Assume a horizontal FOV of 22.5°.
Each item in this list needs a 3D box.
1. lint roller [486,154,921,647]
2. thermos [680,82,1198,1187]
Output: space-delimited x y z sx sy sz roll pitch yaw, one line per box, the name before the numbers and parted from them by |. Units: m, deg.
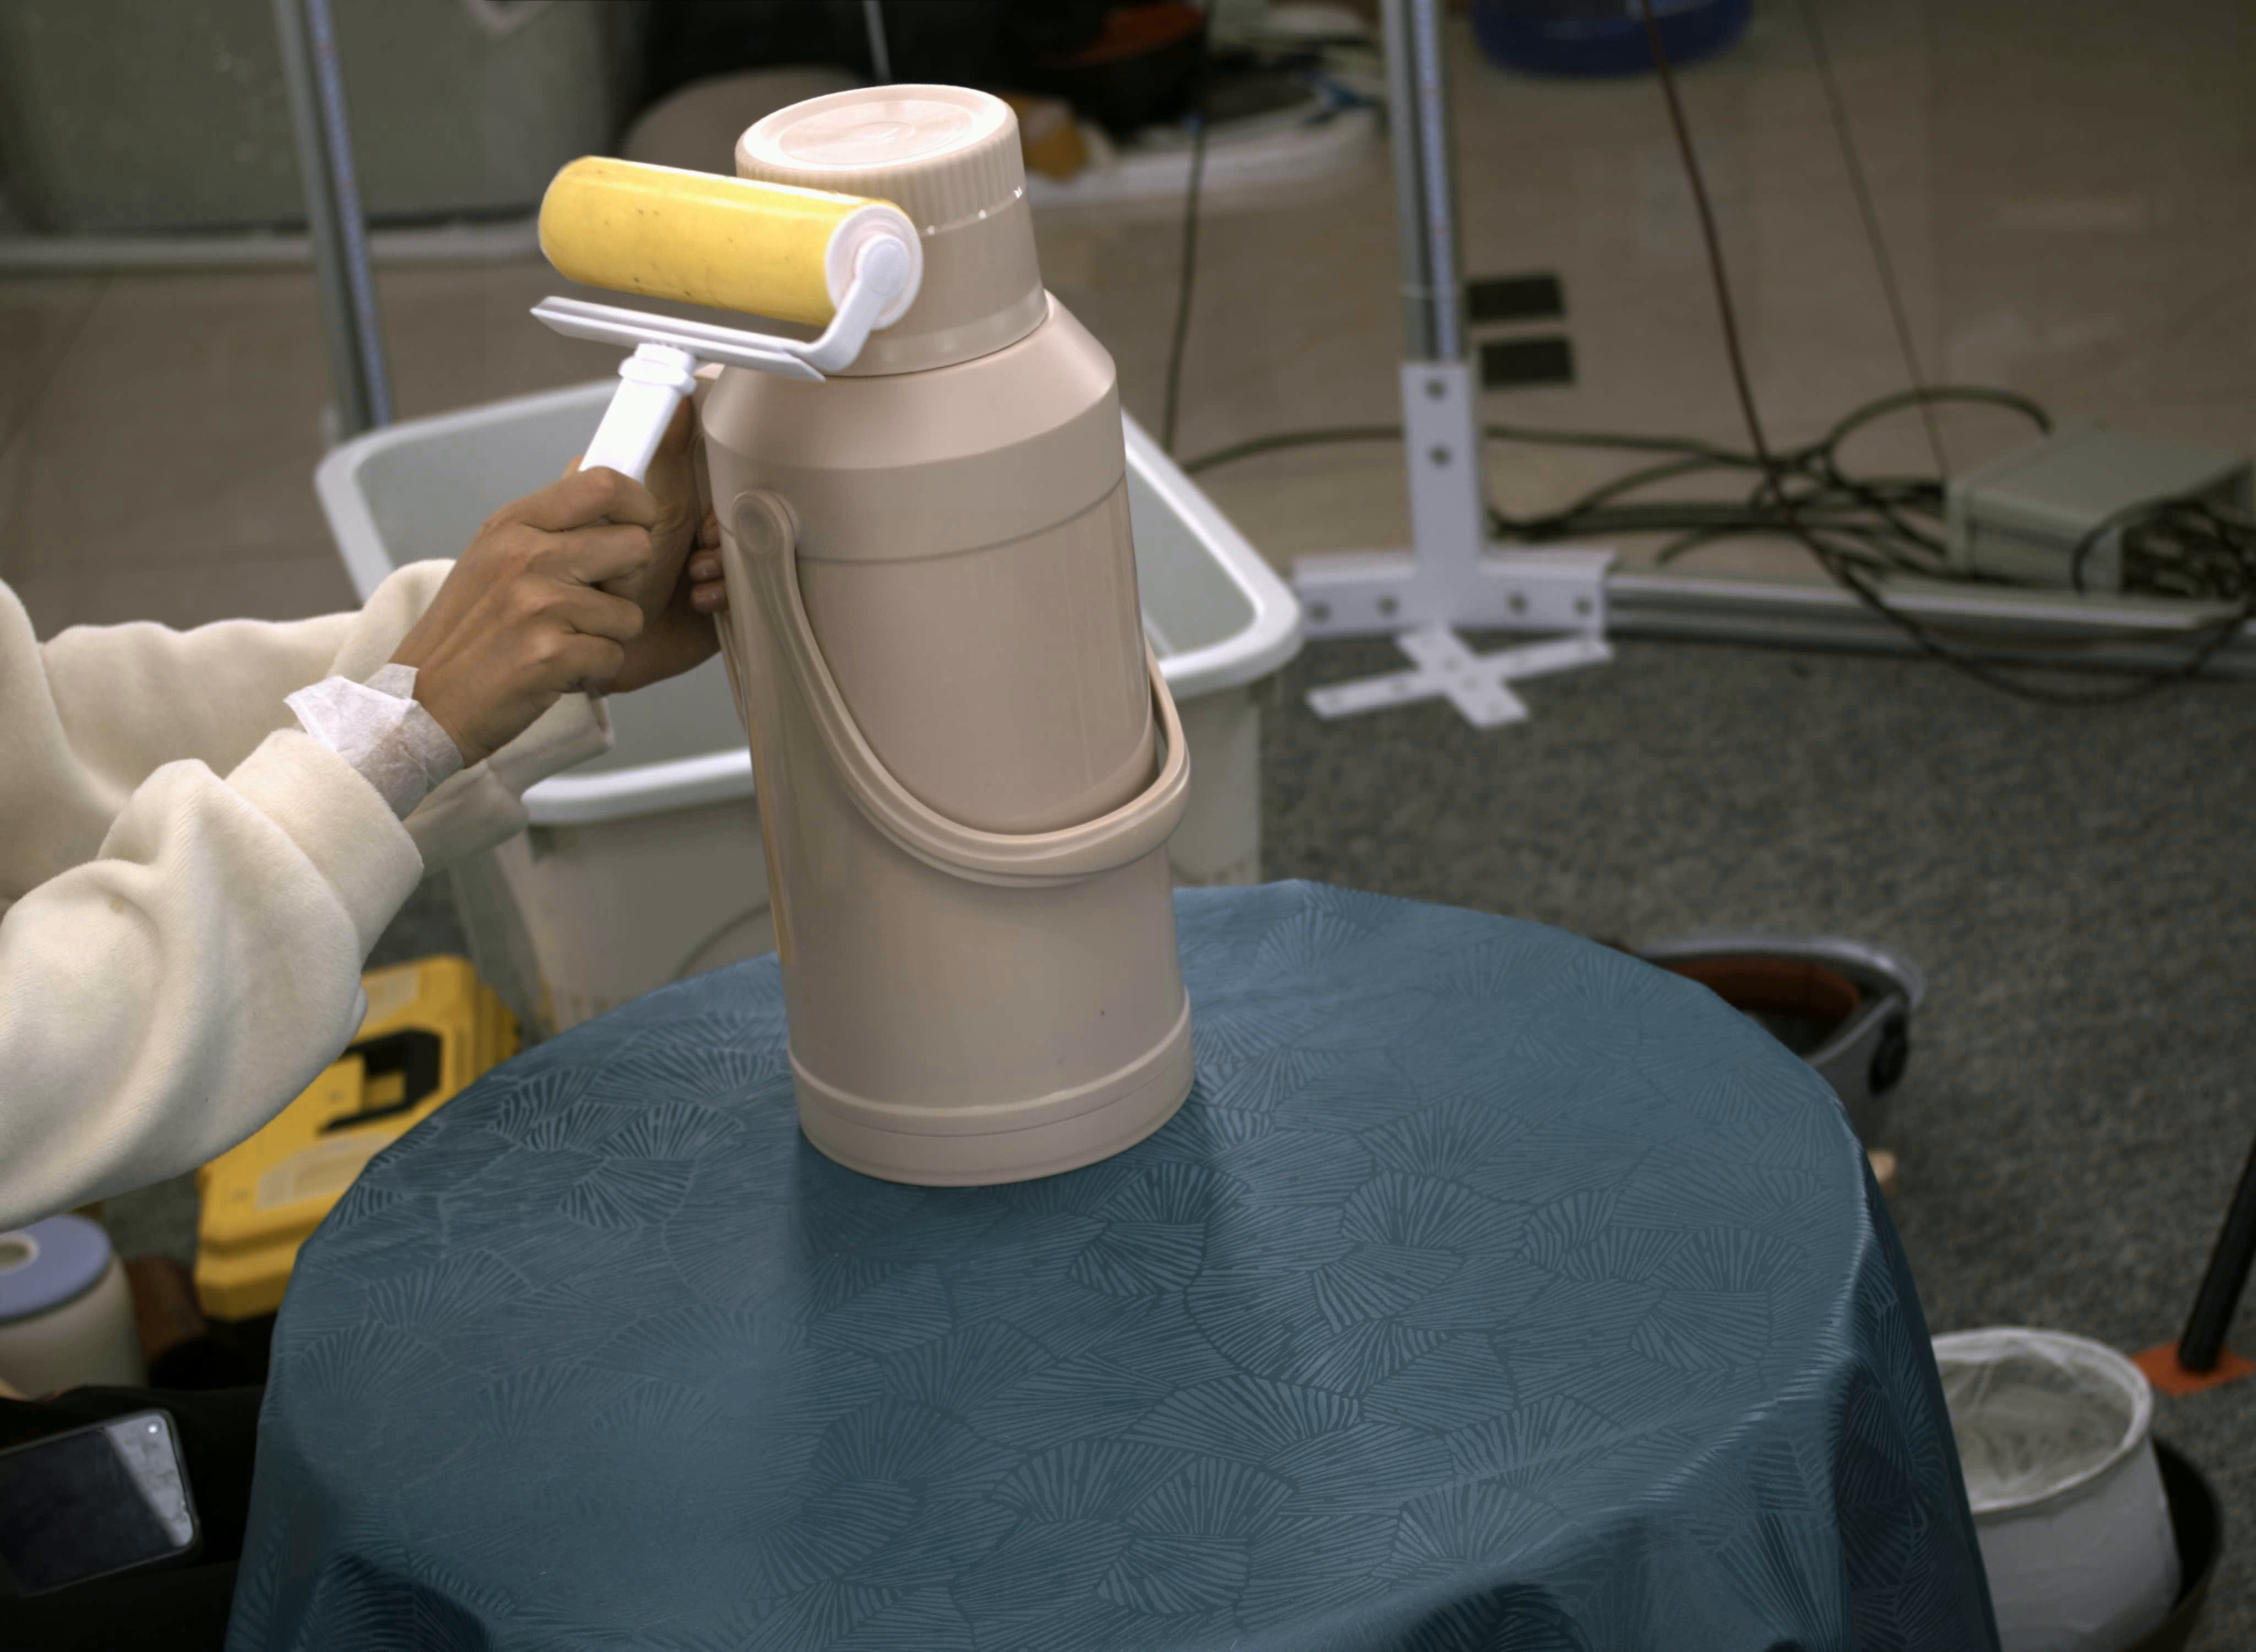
lint roller | -0.179 -0.153 1.994 0.173 0.052 0.190 14 64 45
thermos | -0.081 -0.077 2.155 0.205 0.413 0.173 15 34 38
